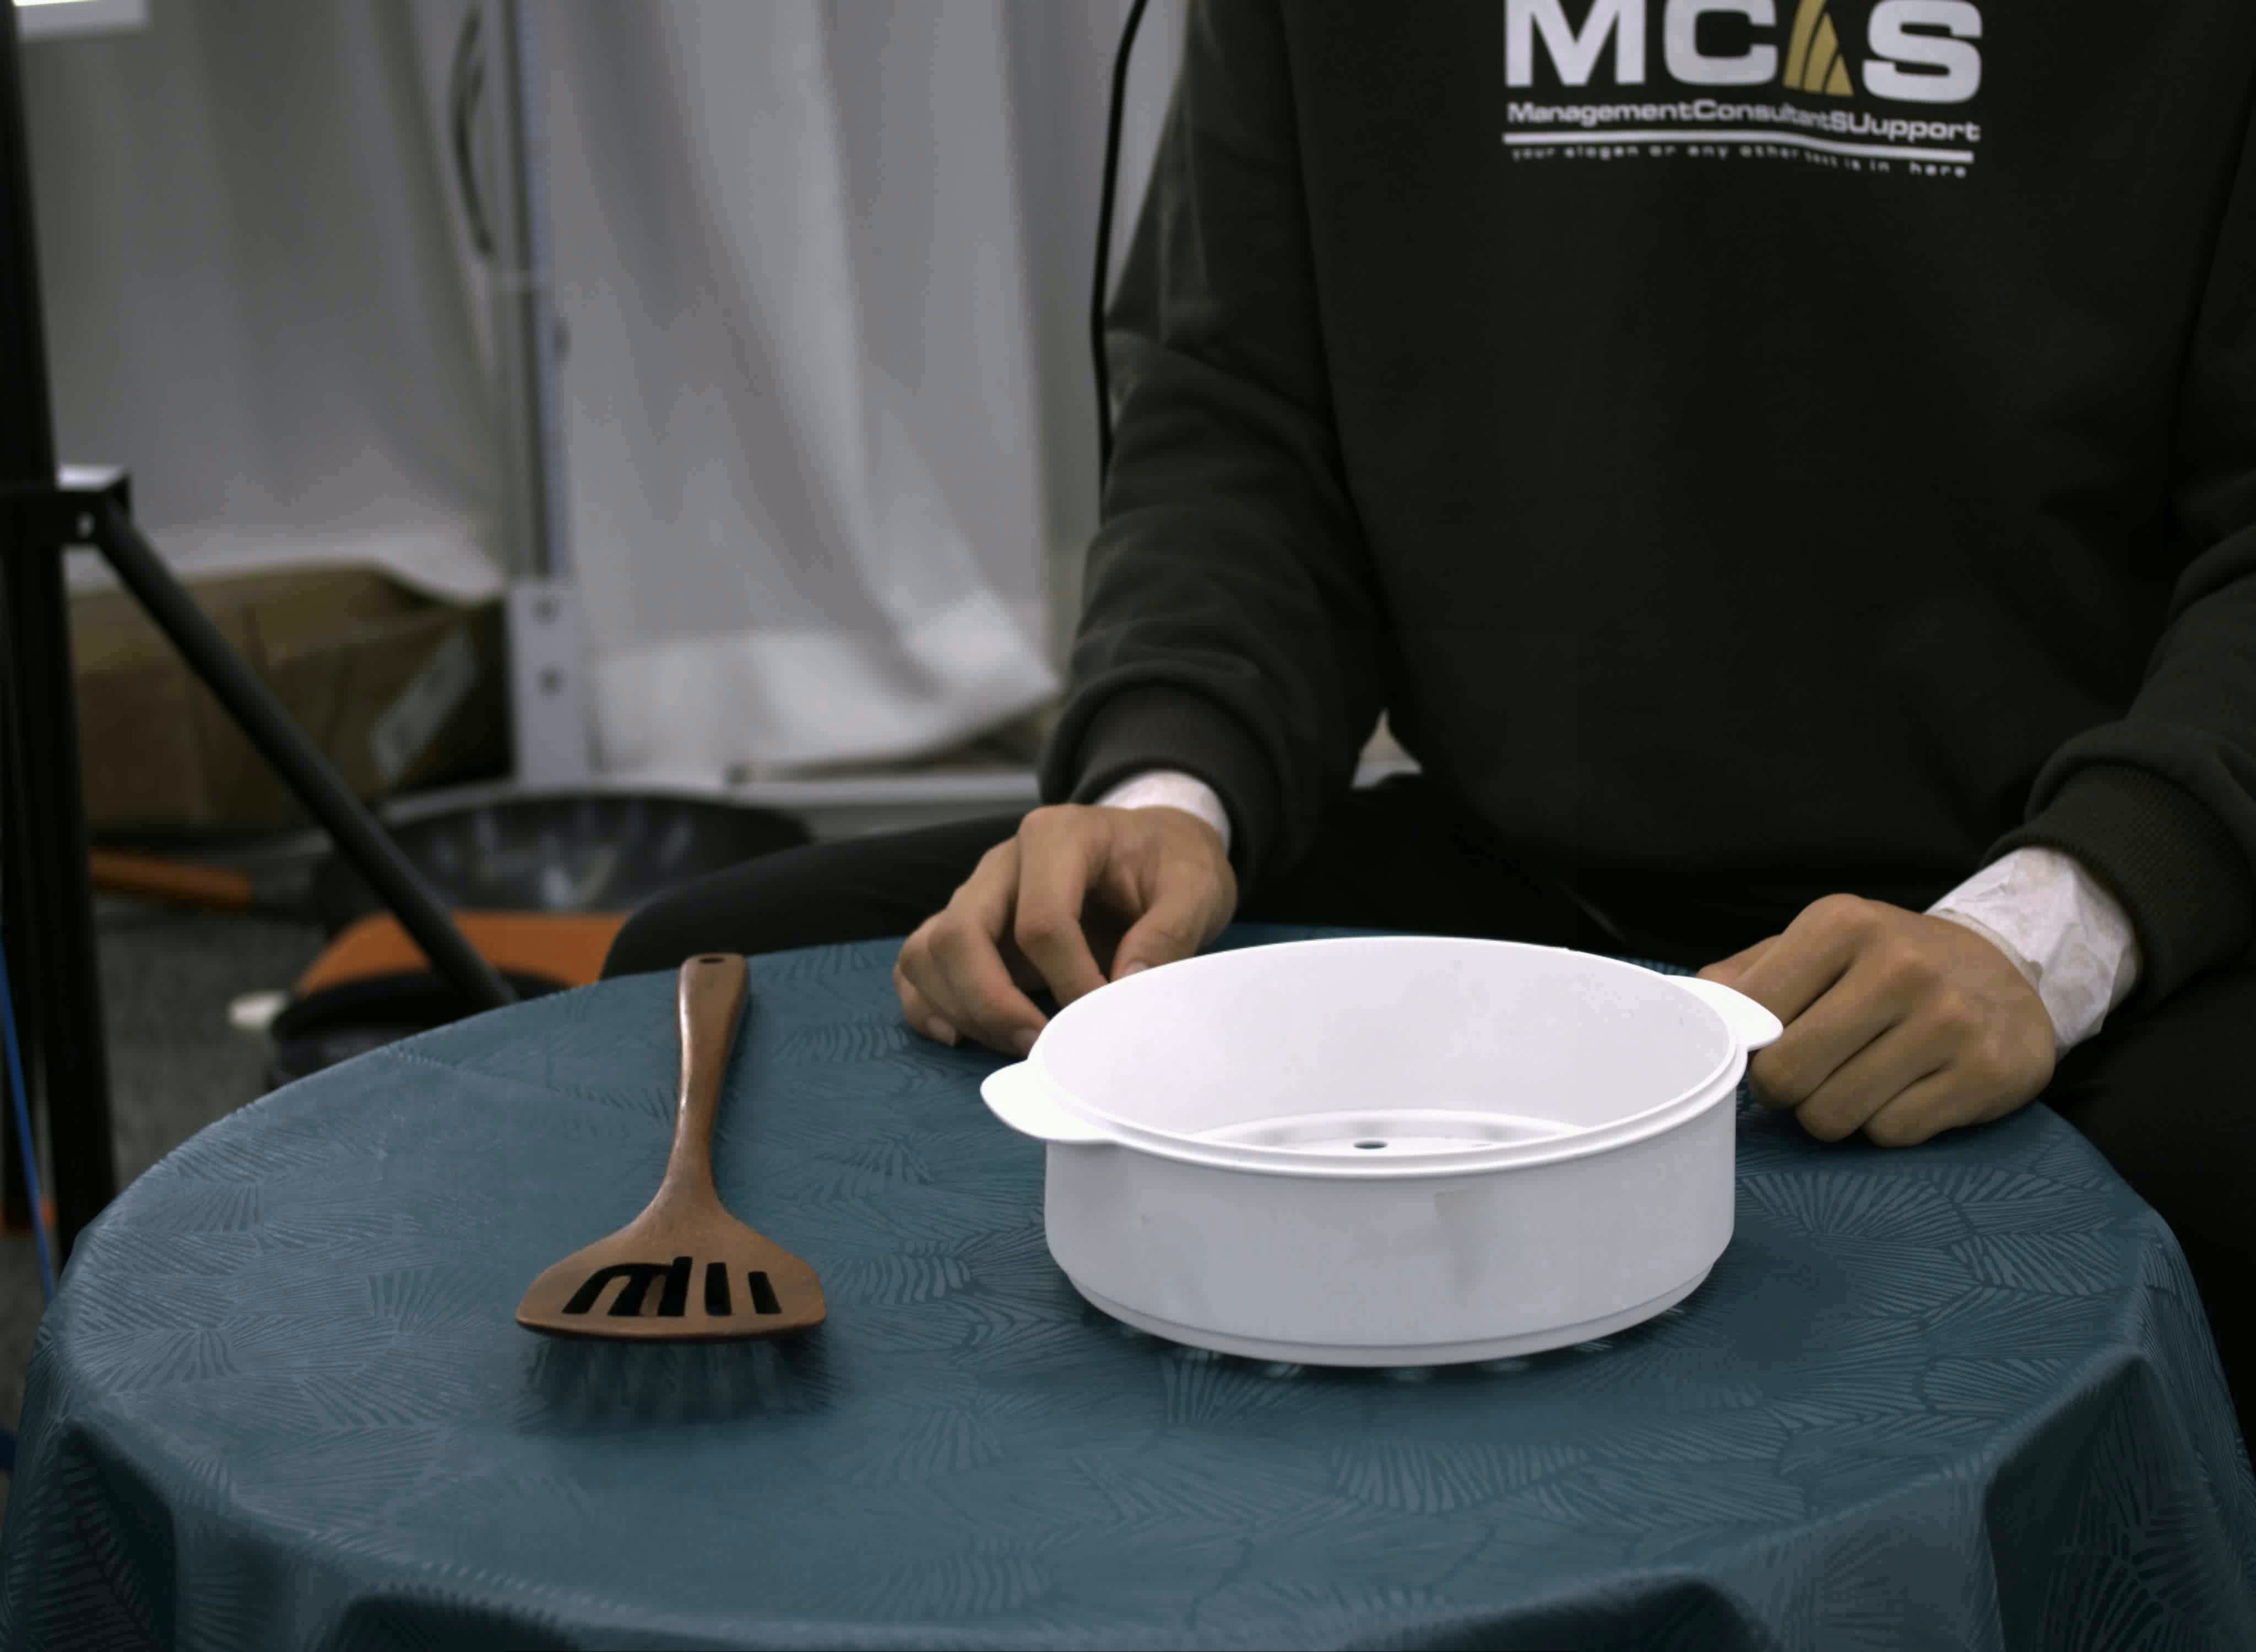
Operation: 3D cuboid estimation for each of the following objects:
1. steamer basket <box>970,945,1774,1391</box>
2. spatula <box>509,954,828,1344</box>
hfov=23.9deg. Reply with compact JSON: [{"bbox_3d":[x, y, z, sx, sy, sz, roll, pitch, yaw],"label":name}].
[{"bbox_3d":[0.068,0.096,1.485,0.226,0.069,0.205,-3,17,-17],"label":"steamer basket"},{"bbox_3d":[-0.131,0.095,1.591,0.085,0.024,0.387,-1,15,-2],"label":"spatula"}]
